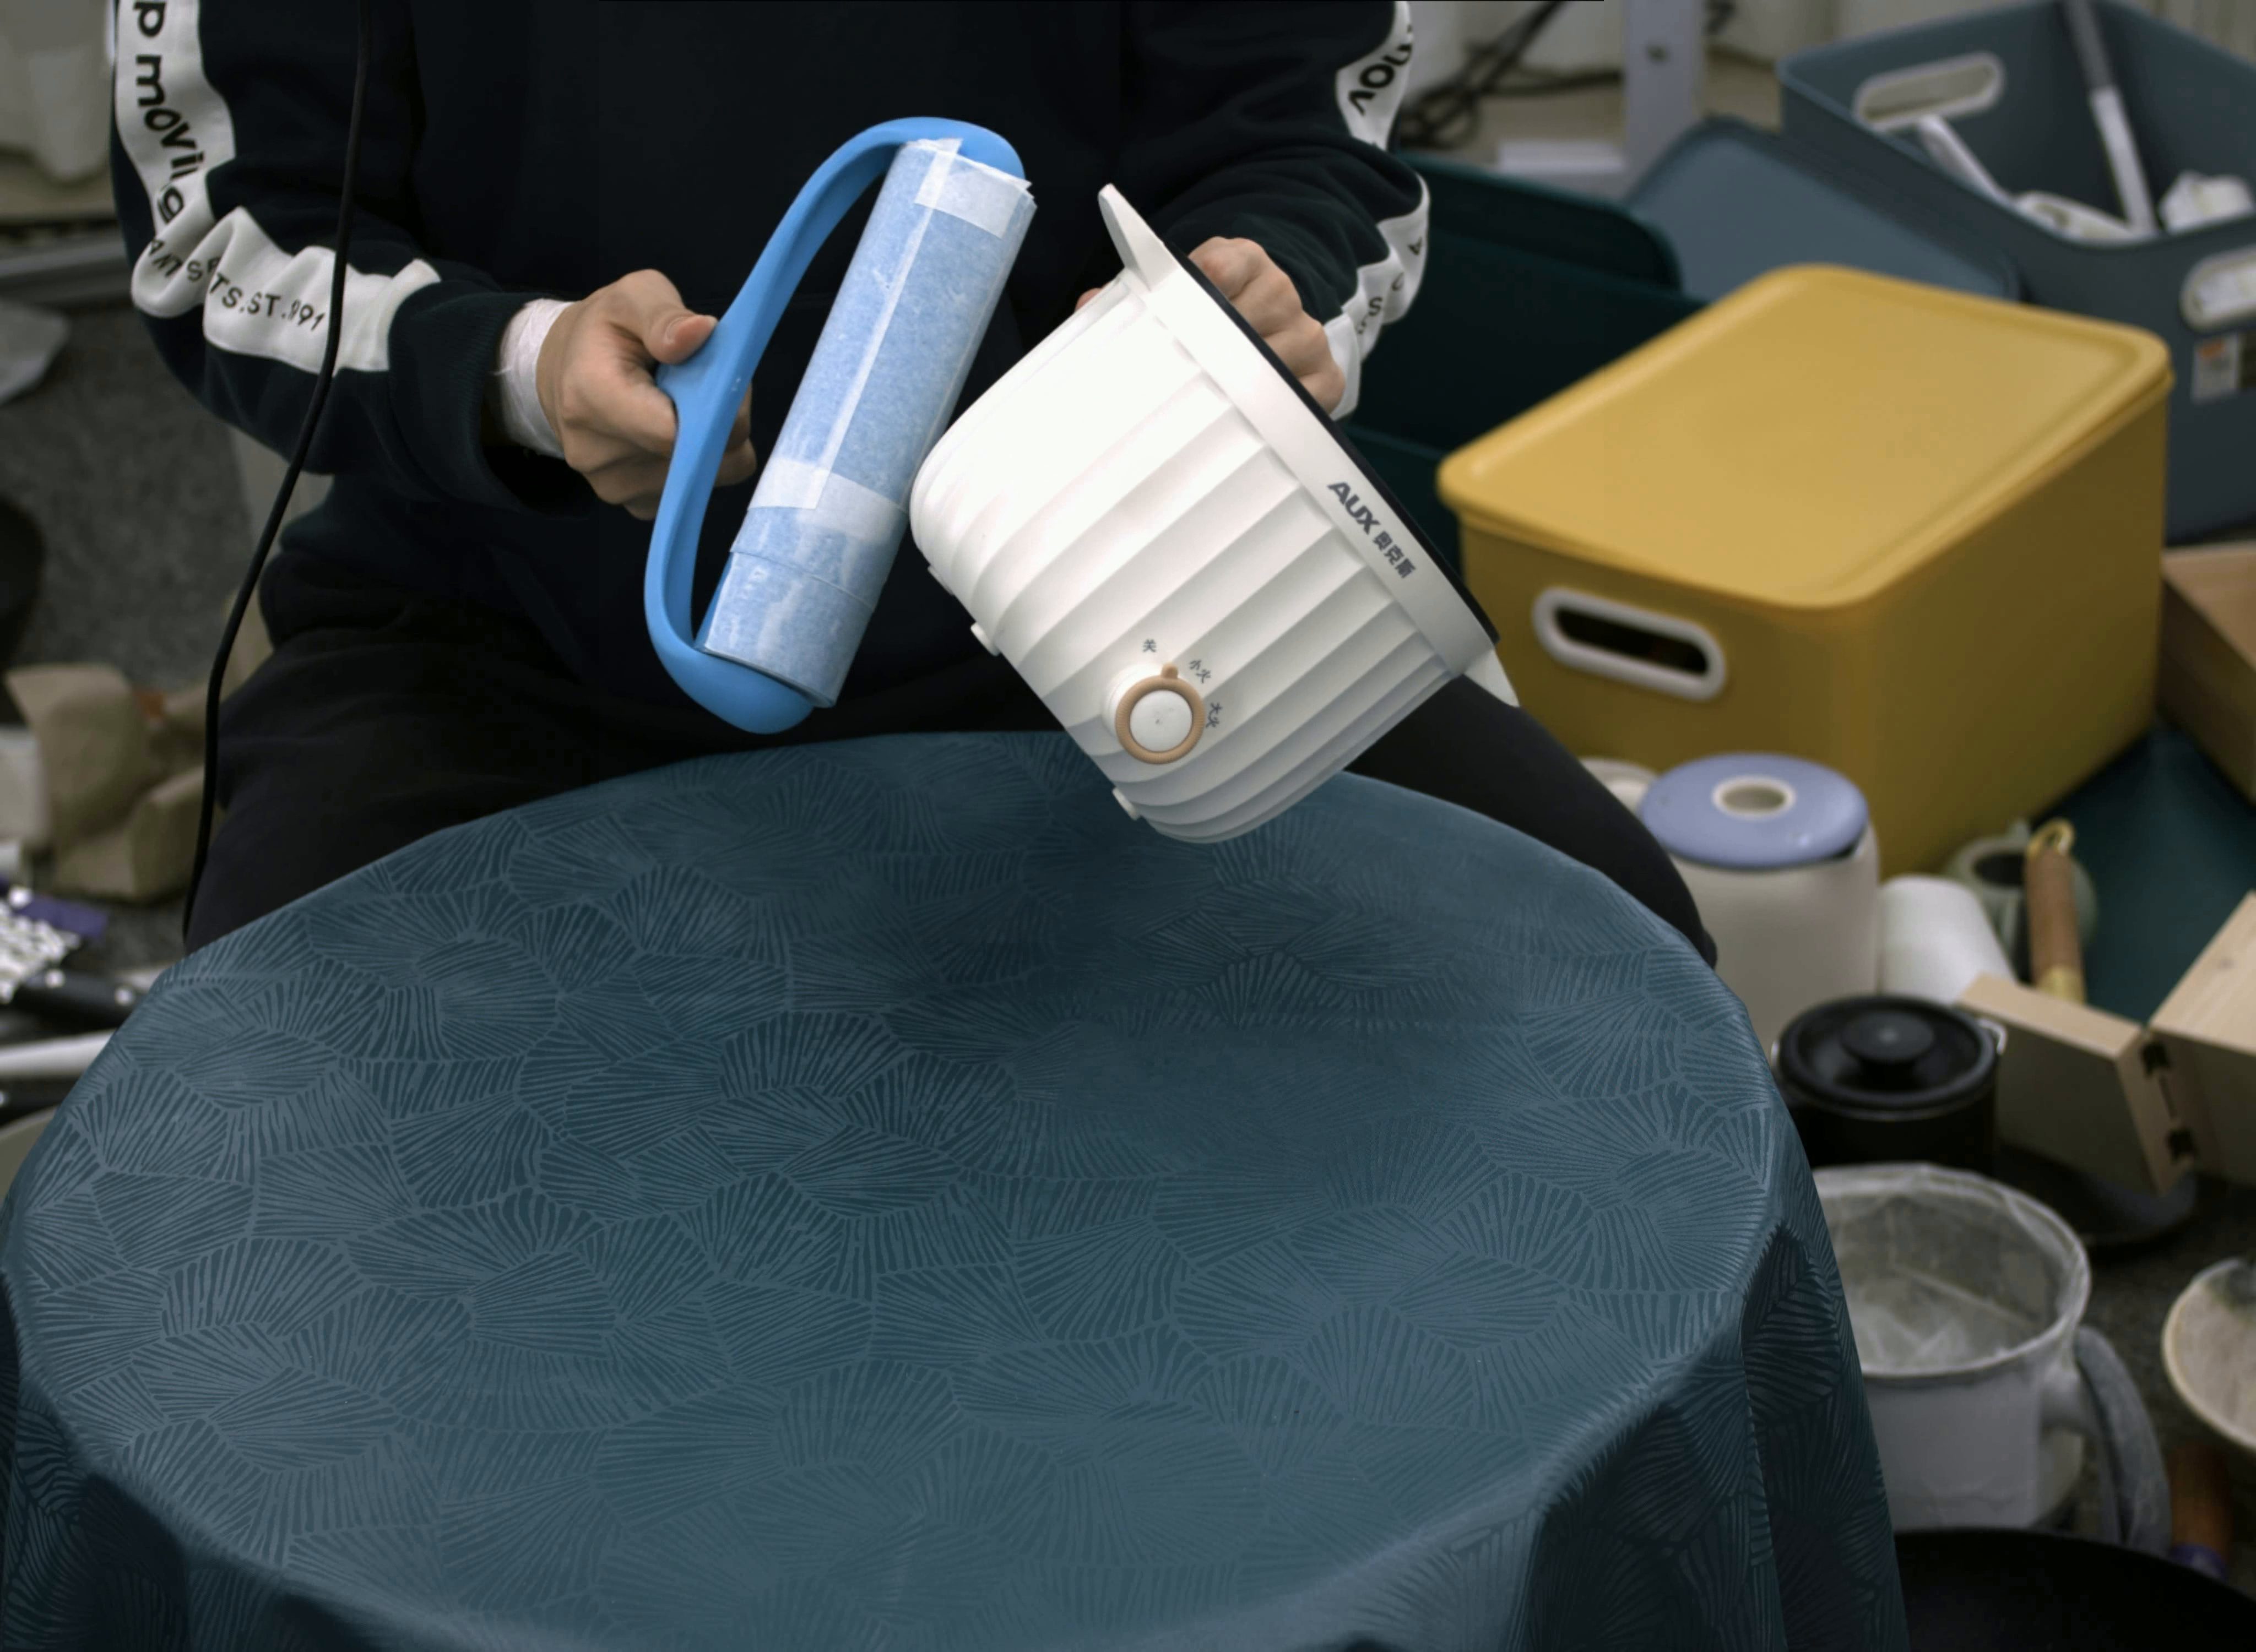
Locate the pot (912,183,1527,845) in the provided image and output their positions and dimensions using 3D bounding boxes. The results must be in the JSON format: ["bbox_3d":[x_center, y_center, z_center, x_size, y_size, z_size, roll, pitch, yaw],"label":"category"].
[{"bbox_3d":[0.021,-0.087,1.922,0.143,0.239,0.191,-42,22,-2],"label":"pot"}]

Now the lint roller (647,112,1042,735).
[{"bbox_3d":[-0.129,-0.146,2.002,0.179,0.231,0.067,8,-15,47],"label":"lint roller"}]
